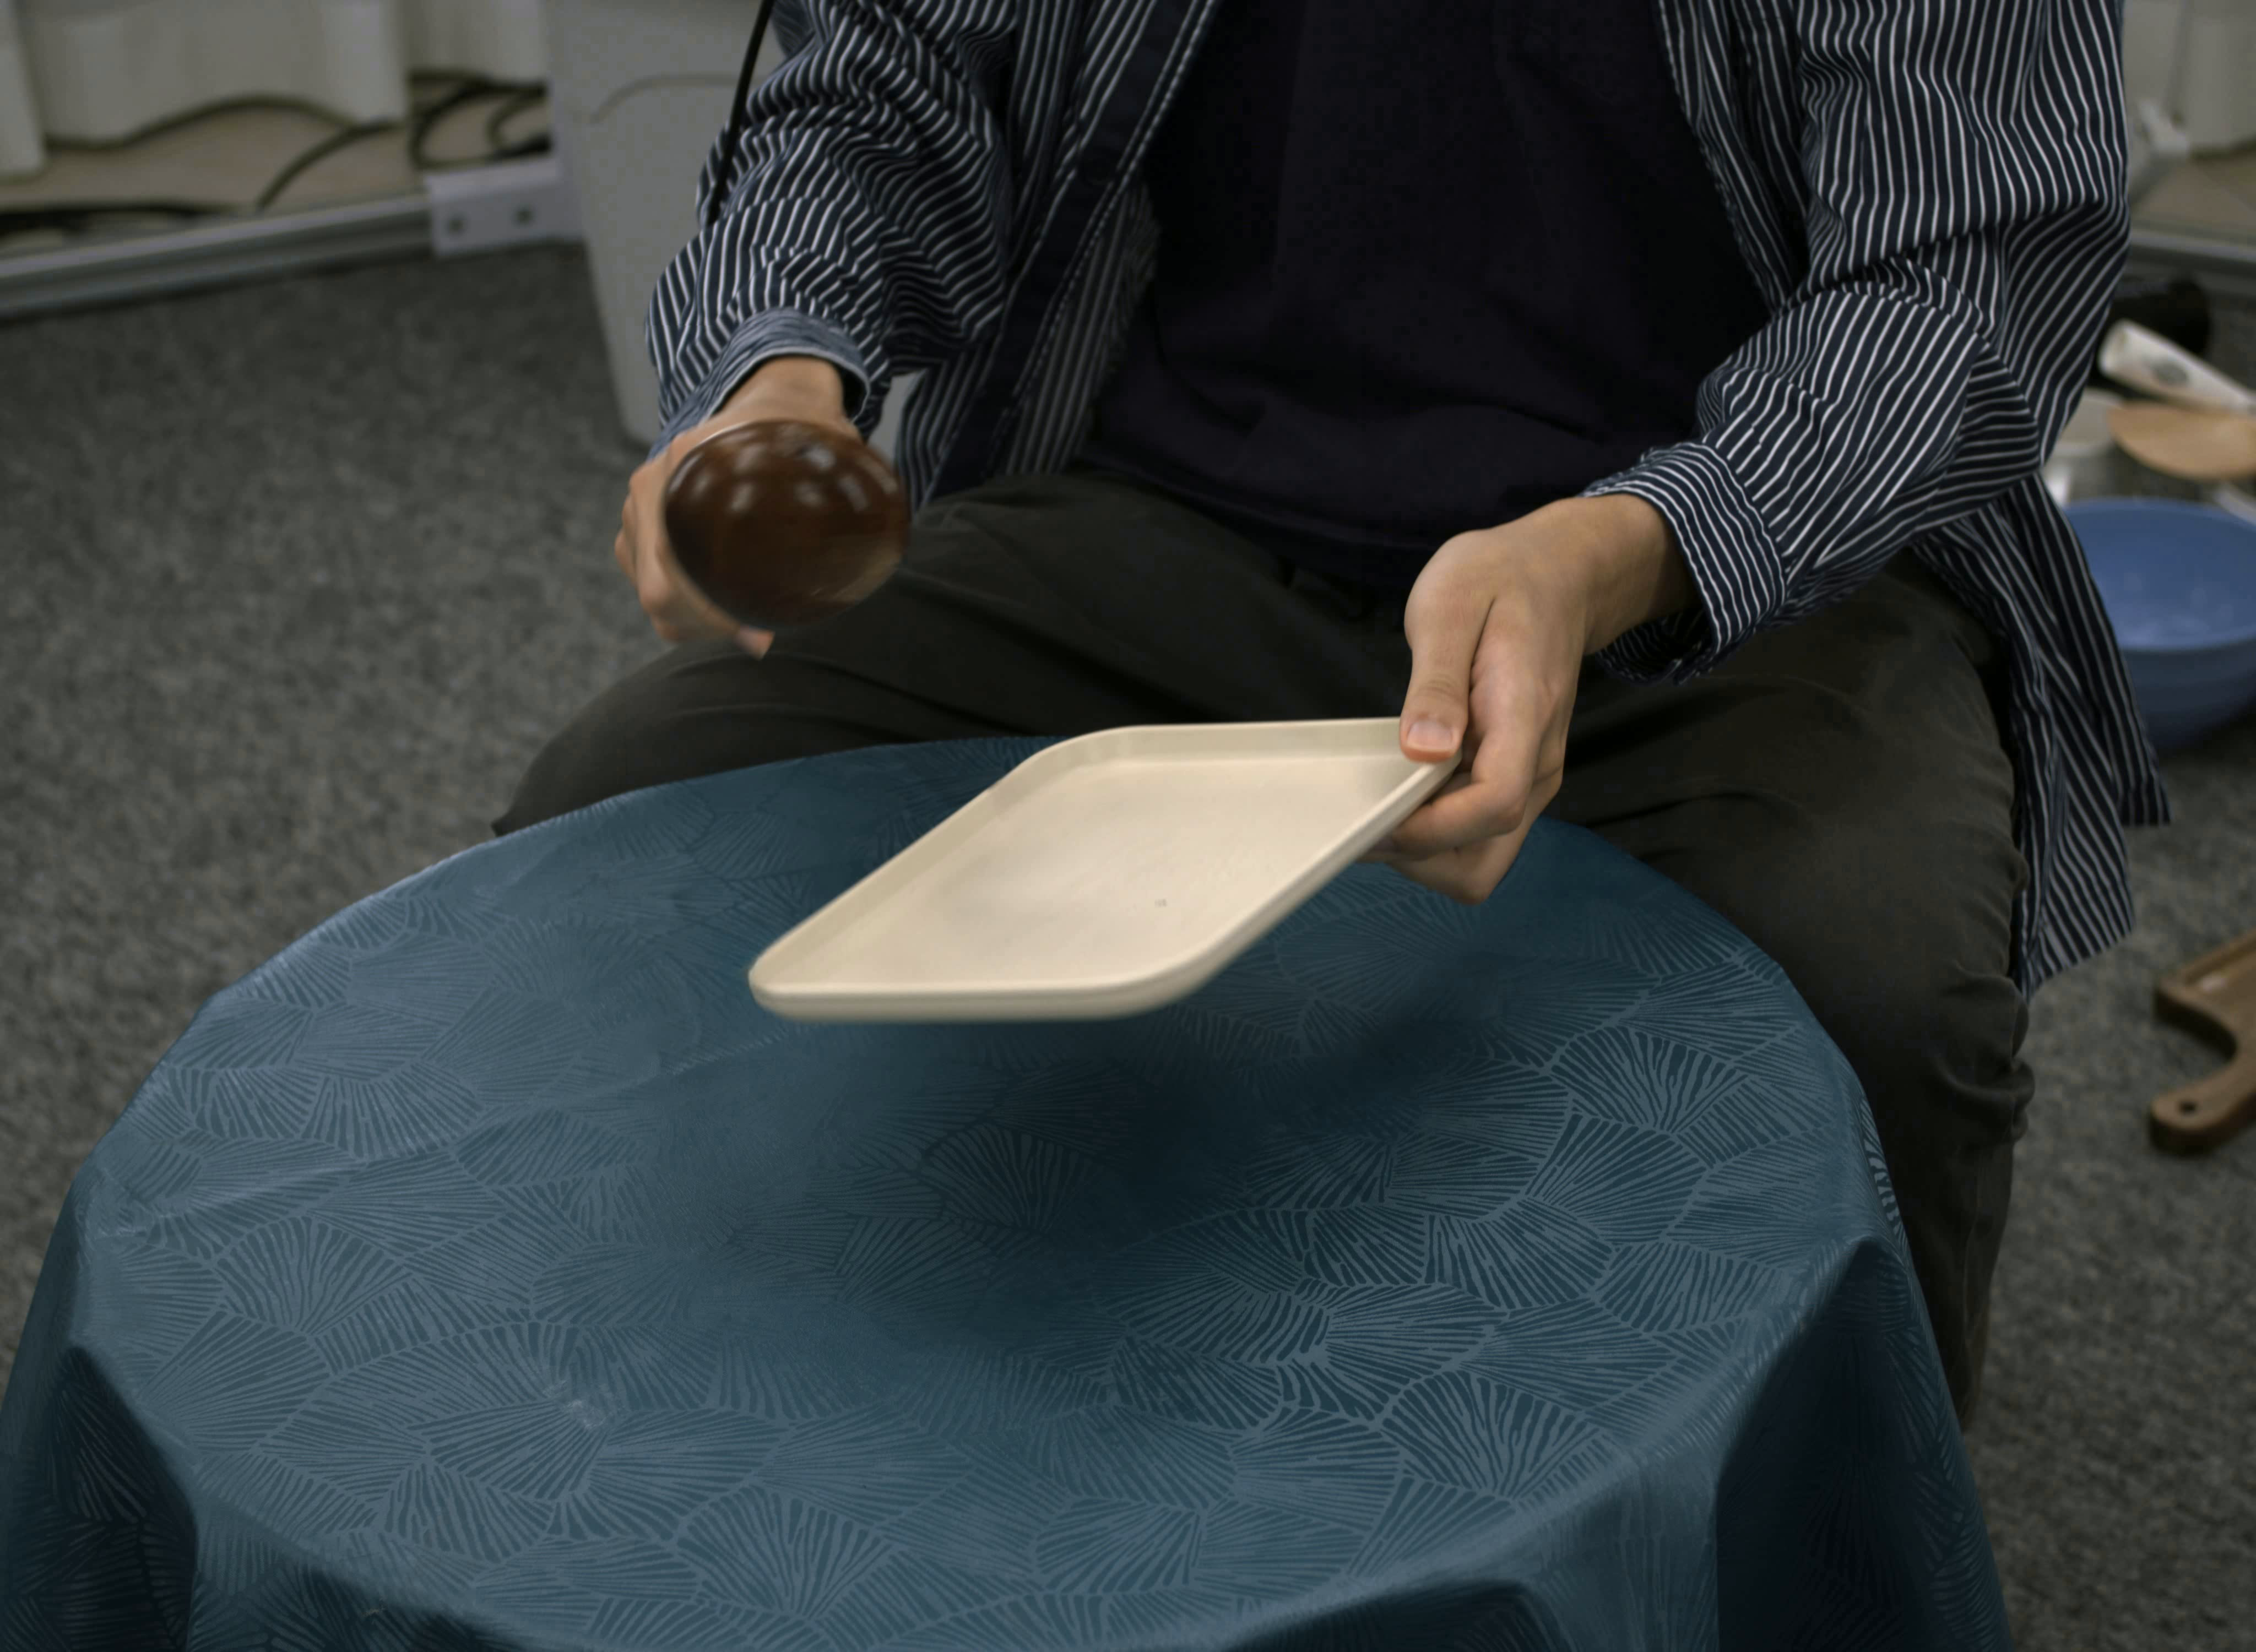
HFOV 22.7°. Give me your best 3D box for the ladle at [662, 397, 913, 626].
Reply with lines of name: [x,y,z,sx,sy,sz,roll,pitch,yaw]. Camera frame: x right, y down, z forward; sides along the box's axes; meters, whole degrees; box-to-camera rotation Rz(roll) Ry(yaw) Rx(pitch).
ladle: [-0.122,-0.114,1.922,0.081,0.076,0.274,16,5,-8]

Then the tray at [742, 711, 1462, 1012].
tray: [-0.005,0.012,1.844,0.169,0.017,0.243,-2,20,32]
